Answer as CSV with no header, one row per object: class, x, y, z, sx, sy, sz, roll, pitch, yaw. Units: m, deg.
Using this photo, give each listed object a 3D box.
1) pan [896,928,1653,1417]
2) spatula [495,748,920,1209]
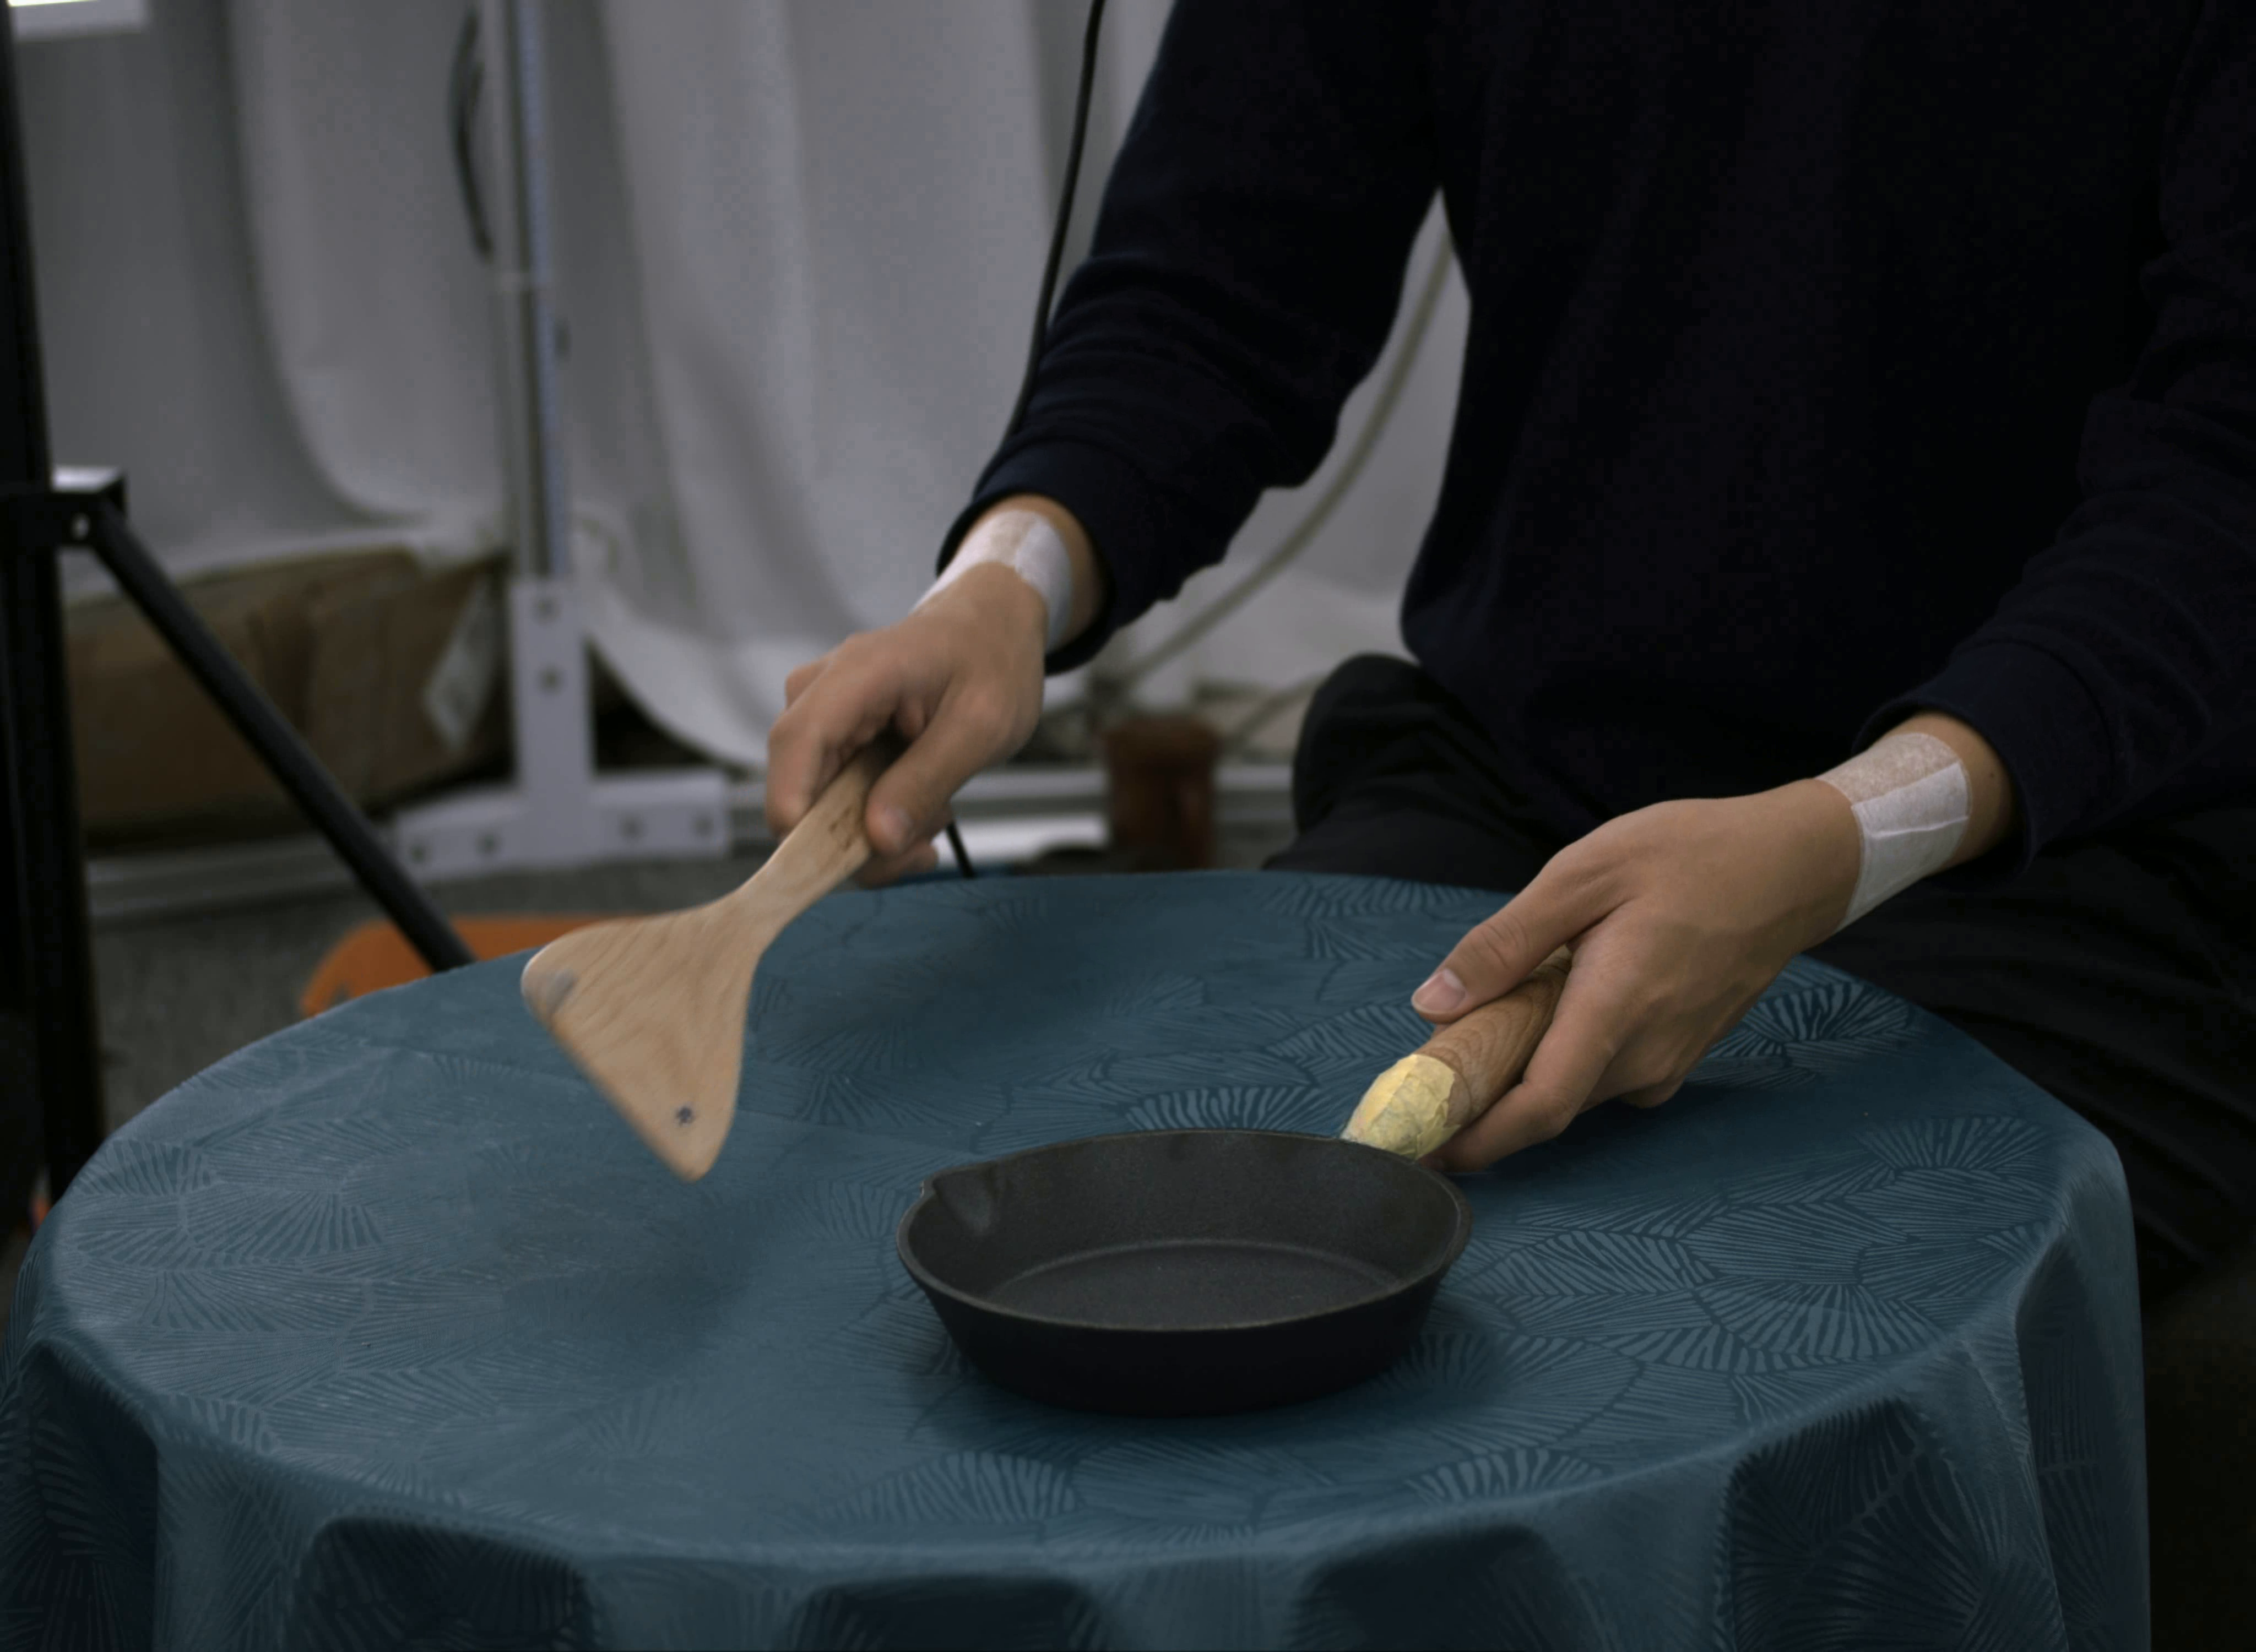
pan,0.065,0.094,1.503,0.172,0.049,0.317,9,21,36
spatula,-0.113,0.032,1.606,0.016,0.080,0.325,-36,6,24
